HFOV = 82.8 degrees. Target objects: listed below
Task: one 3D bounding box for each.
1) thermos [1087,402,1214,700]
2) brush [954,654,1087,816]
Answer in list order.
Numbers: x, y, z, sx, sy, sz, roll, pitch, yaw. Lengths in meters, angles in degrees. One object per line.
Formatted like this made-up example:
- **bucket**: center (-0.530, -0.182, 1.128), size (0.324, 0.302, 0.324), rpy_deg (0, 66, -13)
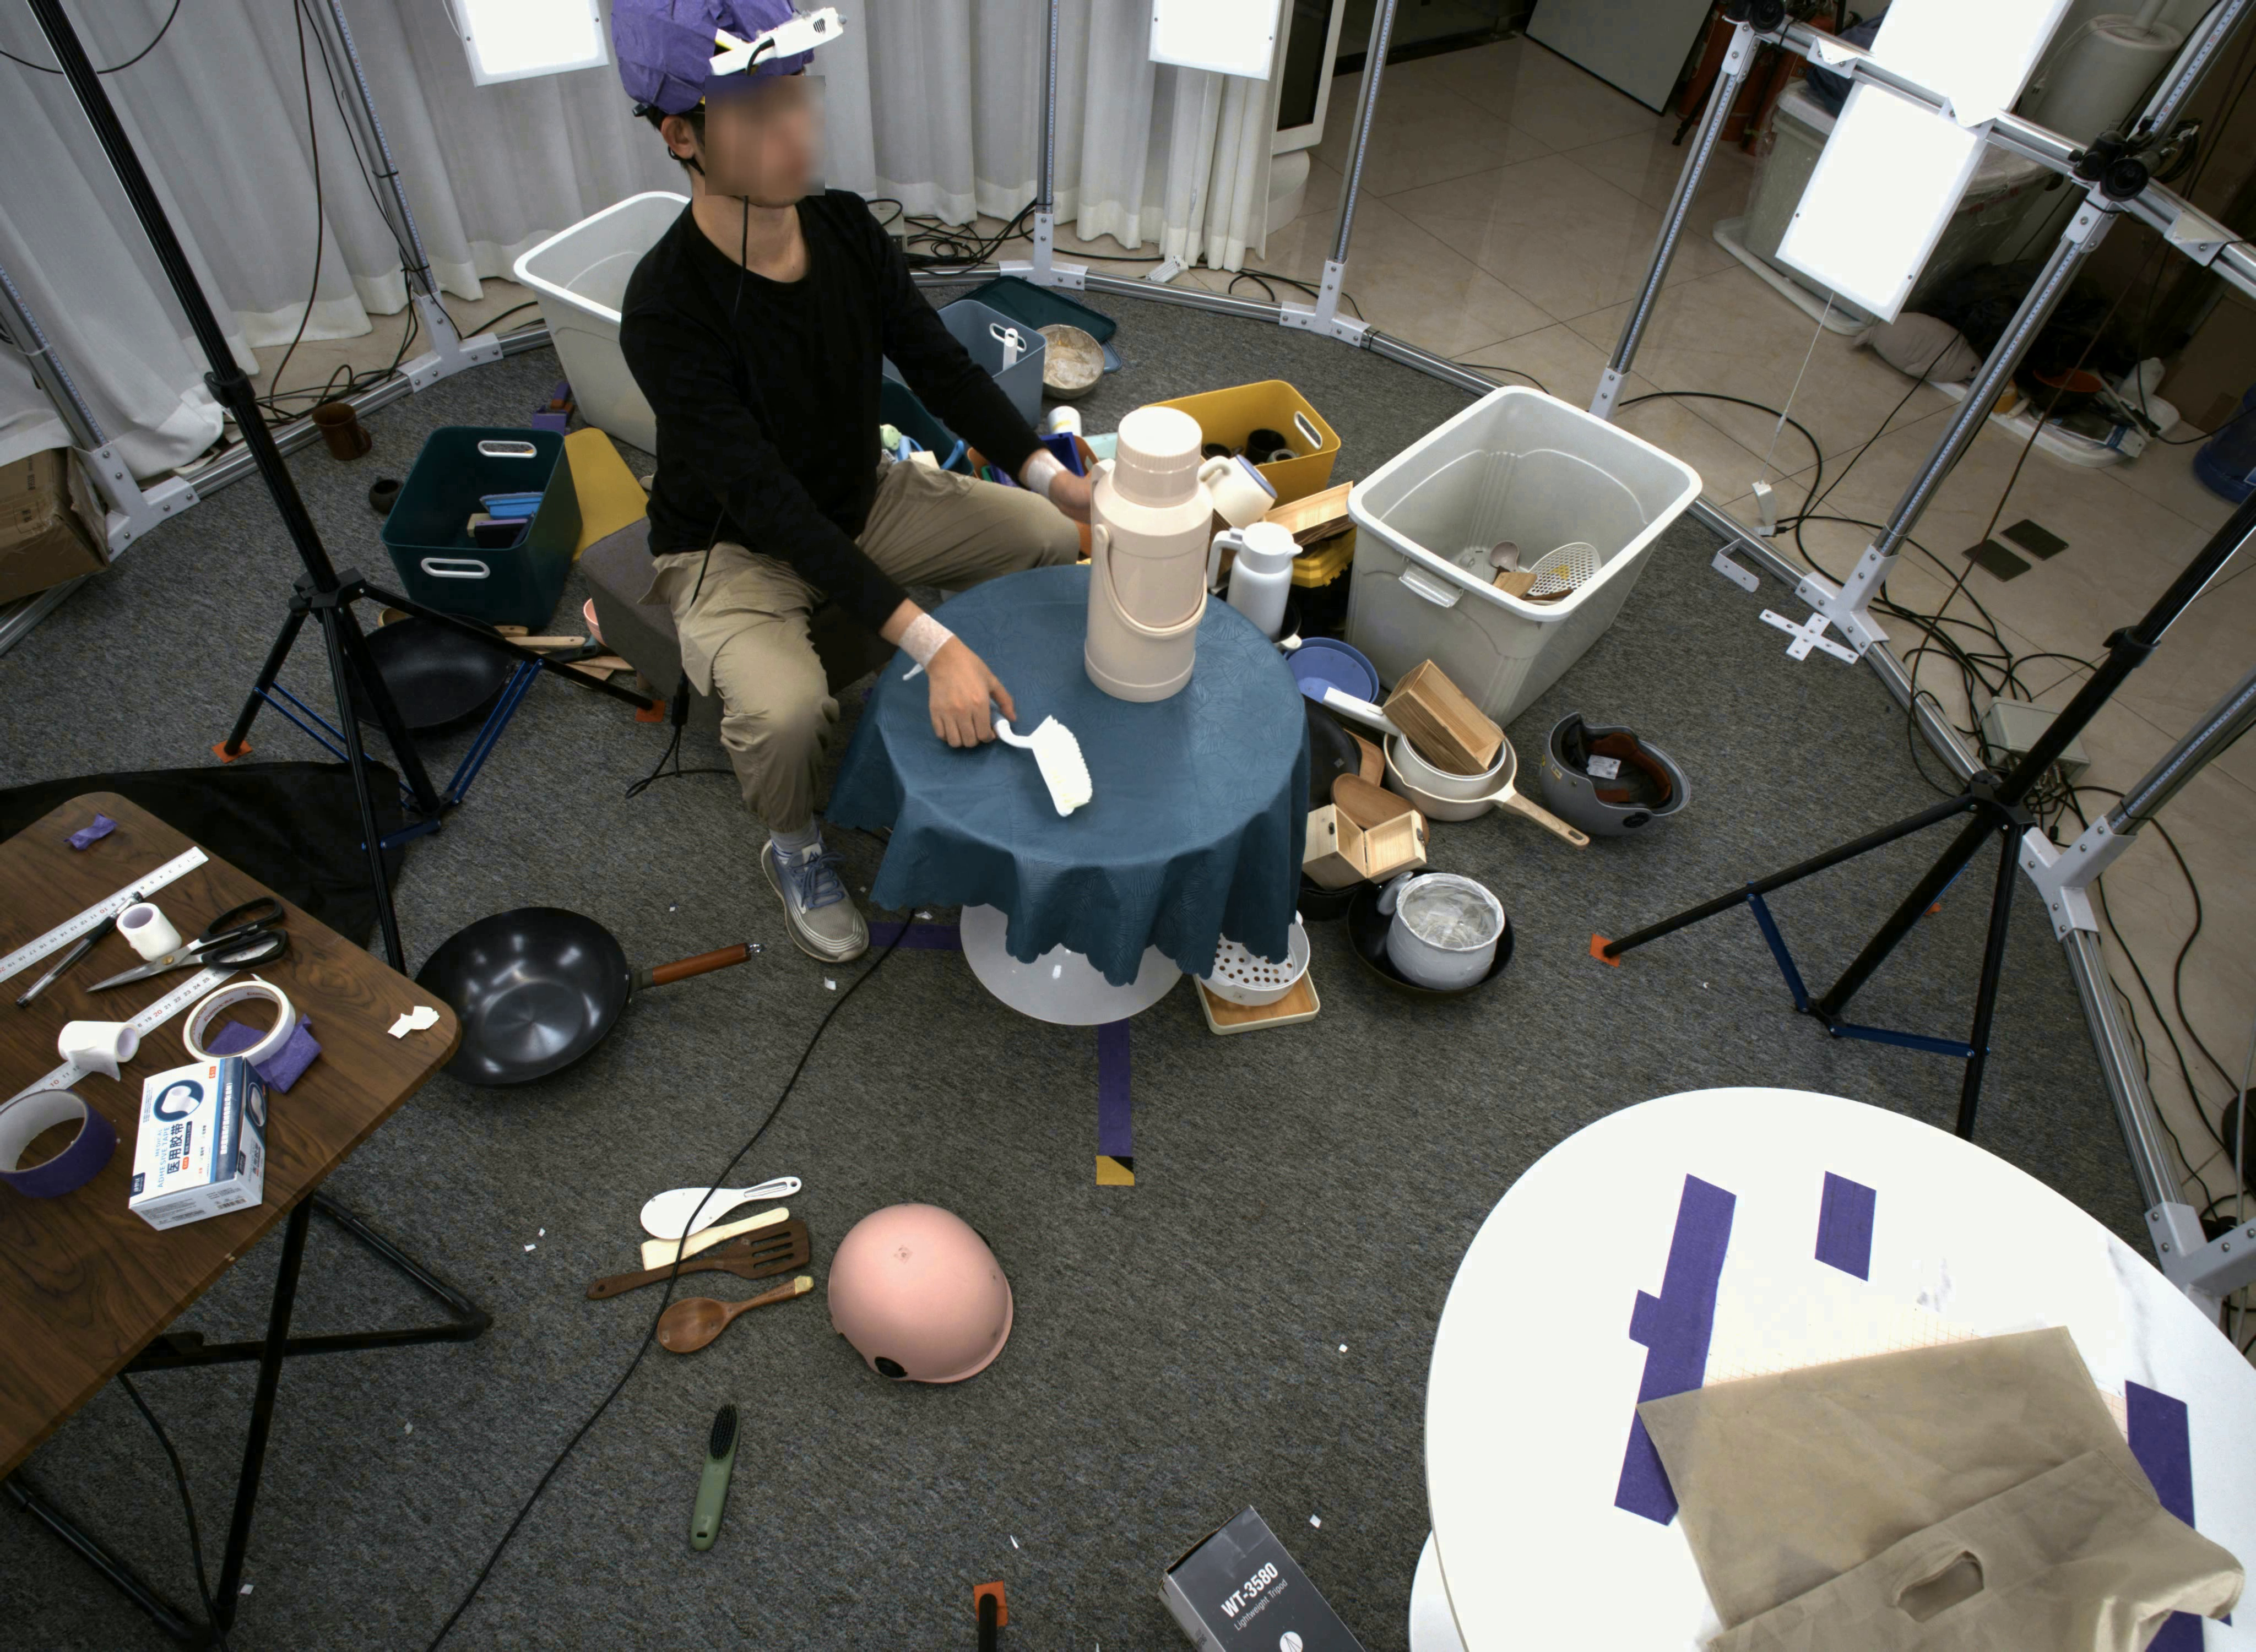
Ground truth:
- **thermos**: center (0.021, -0.373, 1.739), size (0.176, 0.396, 0.211), rpy_deg (-30, 58, -25)
- **brush**: center (-0.140, -0.149, 1.741), size (0.085, 0.081, 0.332), rpy_deg (-20, 54, -20)
